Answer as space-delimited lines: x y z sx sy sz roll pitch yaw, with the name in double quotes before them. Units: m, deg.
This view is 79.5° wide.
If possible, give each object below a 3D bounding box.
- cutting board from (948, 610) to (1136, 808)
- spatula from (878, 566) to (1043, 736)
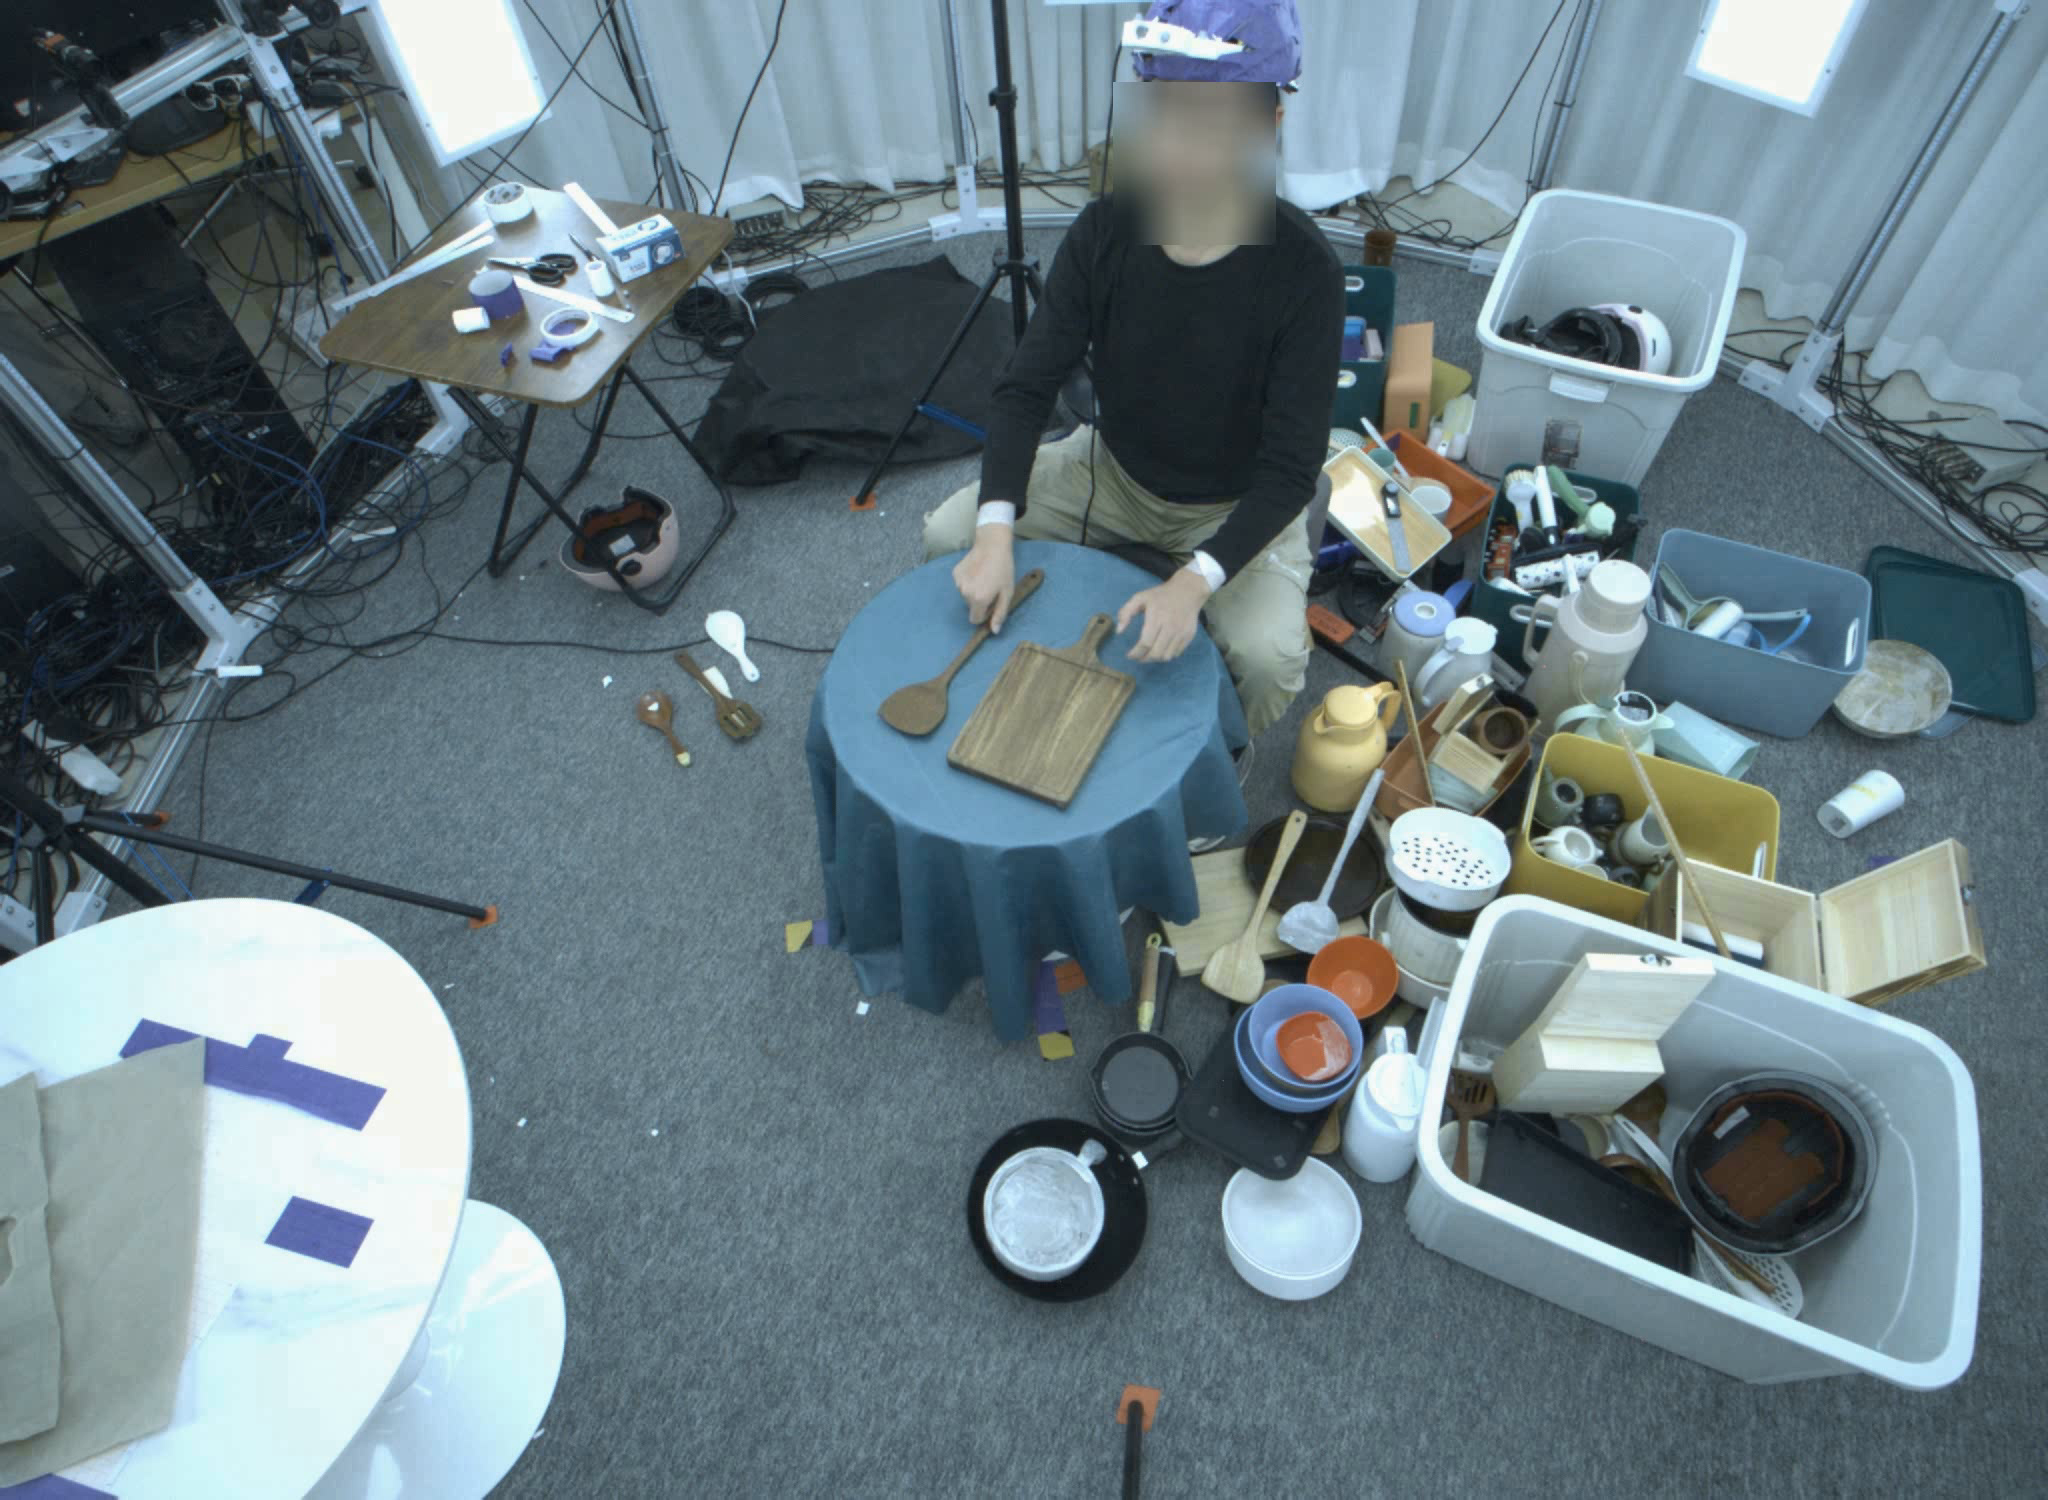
"cutting board" 0.051 -0.081 1.830 0.198 0.023 0.352 21 58 15
"spatula" -0.081 -0.164 1.896 0.095 0.016 0.387 28 61 18
